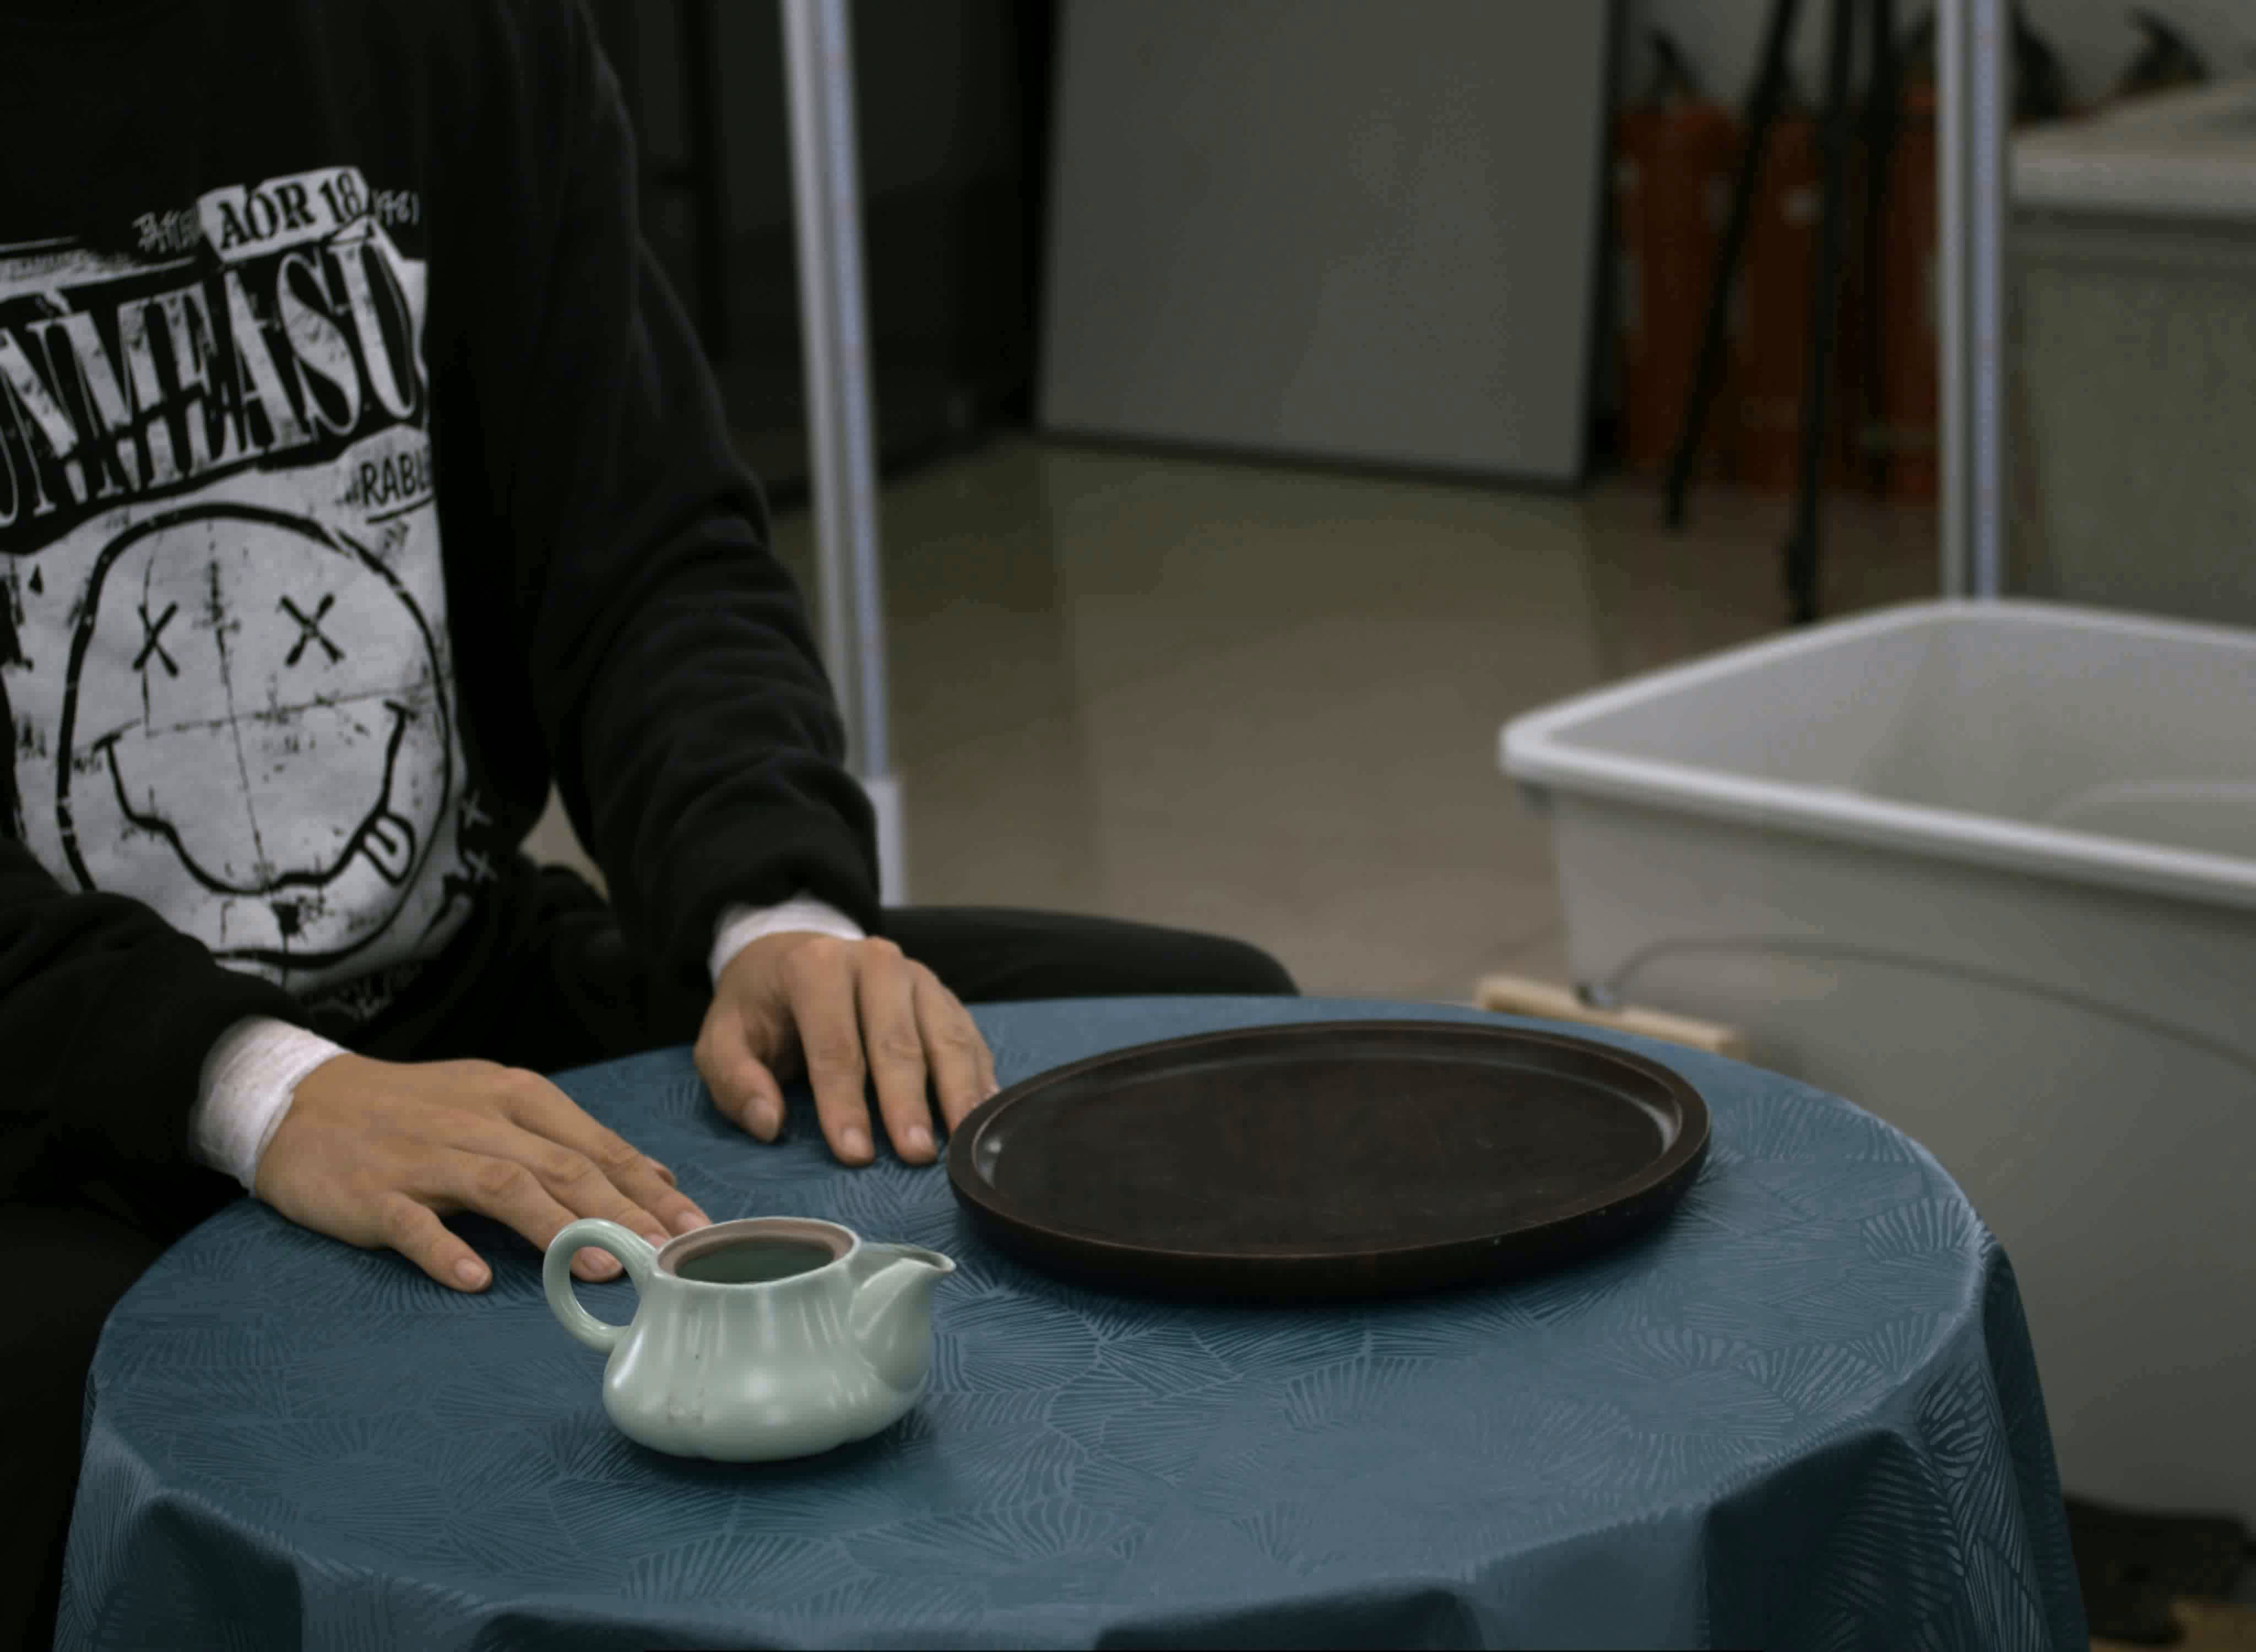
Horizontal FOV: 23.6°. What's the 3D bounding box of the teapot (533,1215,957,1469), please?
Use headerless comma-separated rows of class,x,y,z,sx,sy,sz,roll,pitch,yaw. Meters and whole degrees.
teapot,-0.111,0.149,1.572,0.137,0.062,0.095,2,16,23

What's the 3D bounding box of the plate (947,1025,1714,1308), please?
plate,0.066,0.108,1.756,0.251,0.029,0.255,-4,15,0
